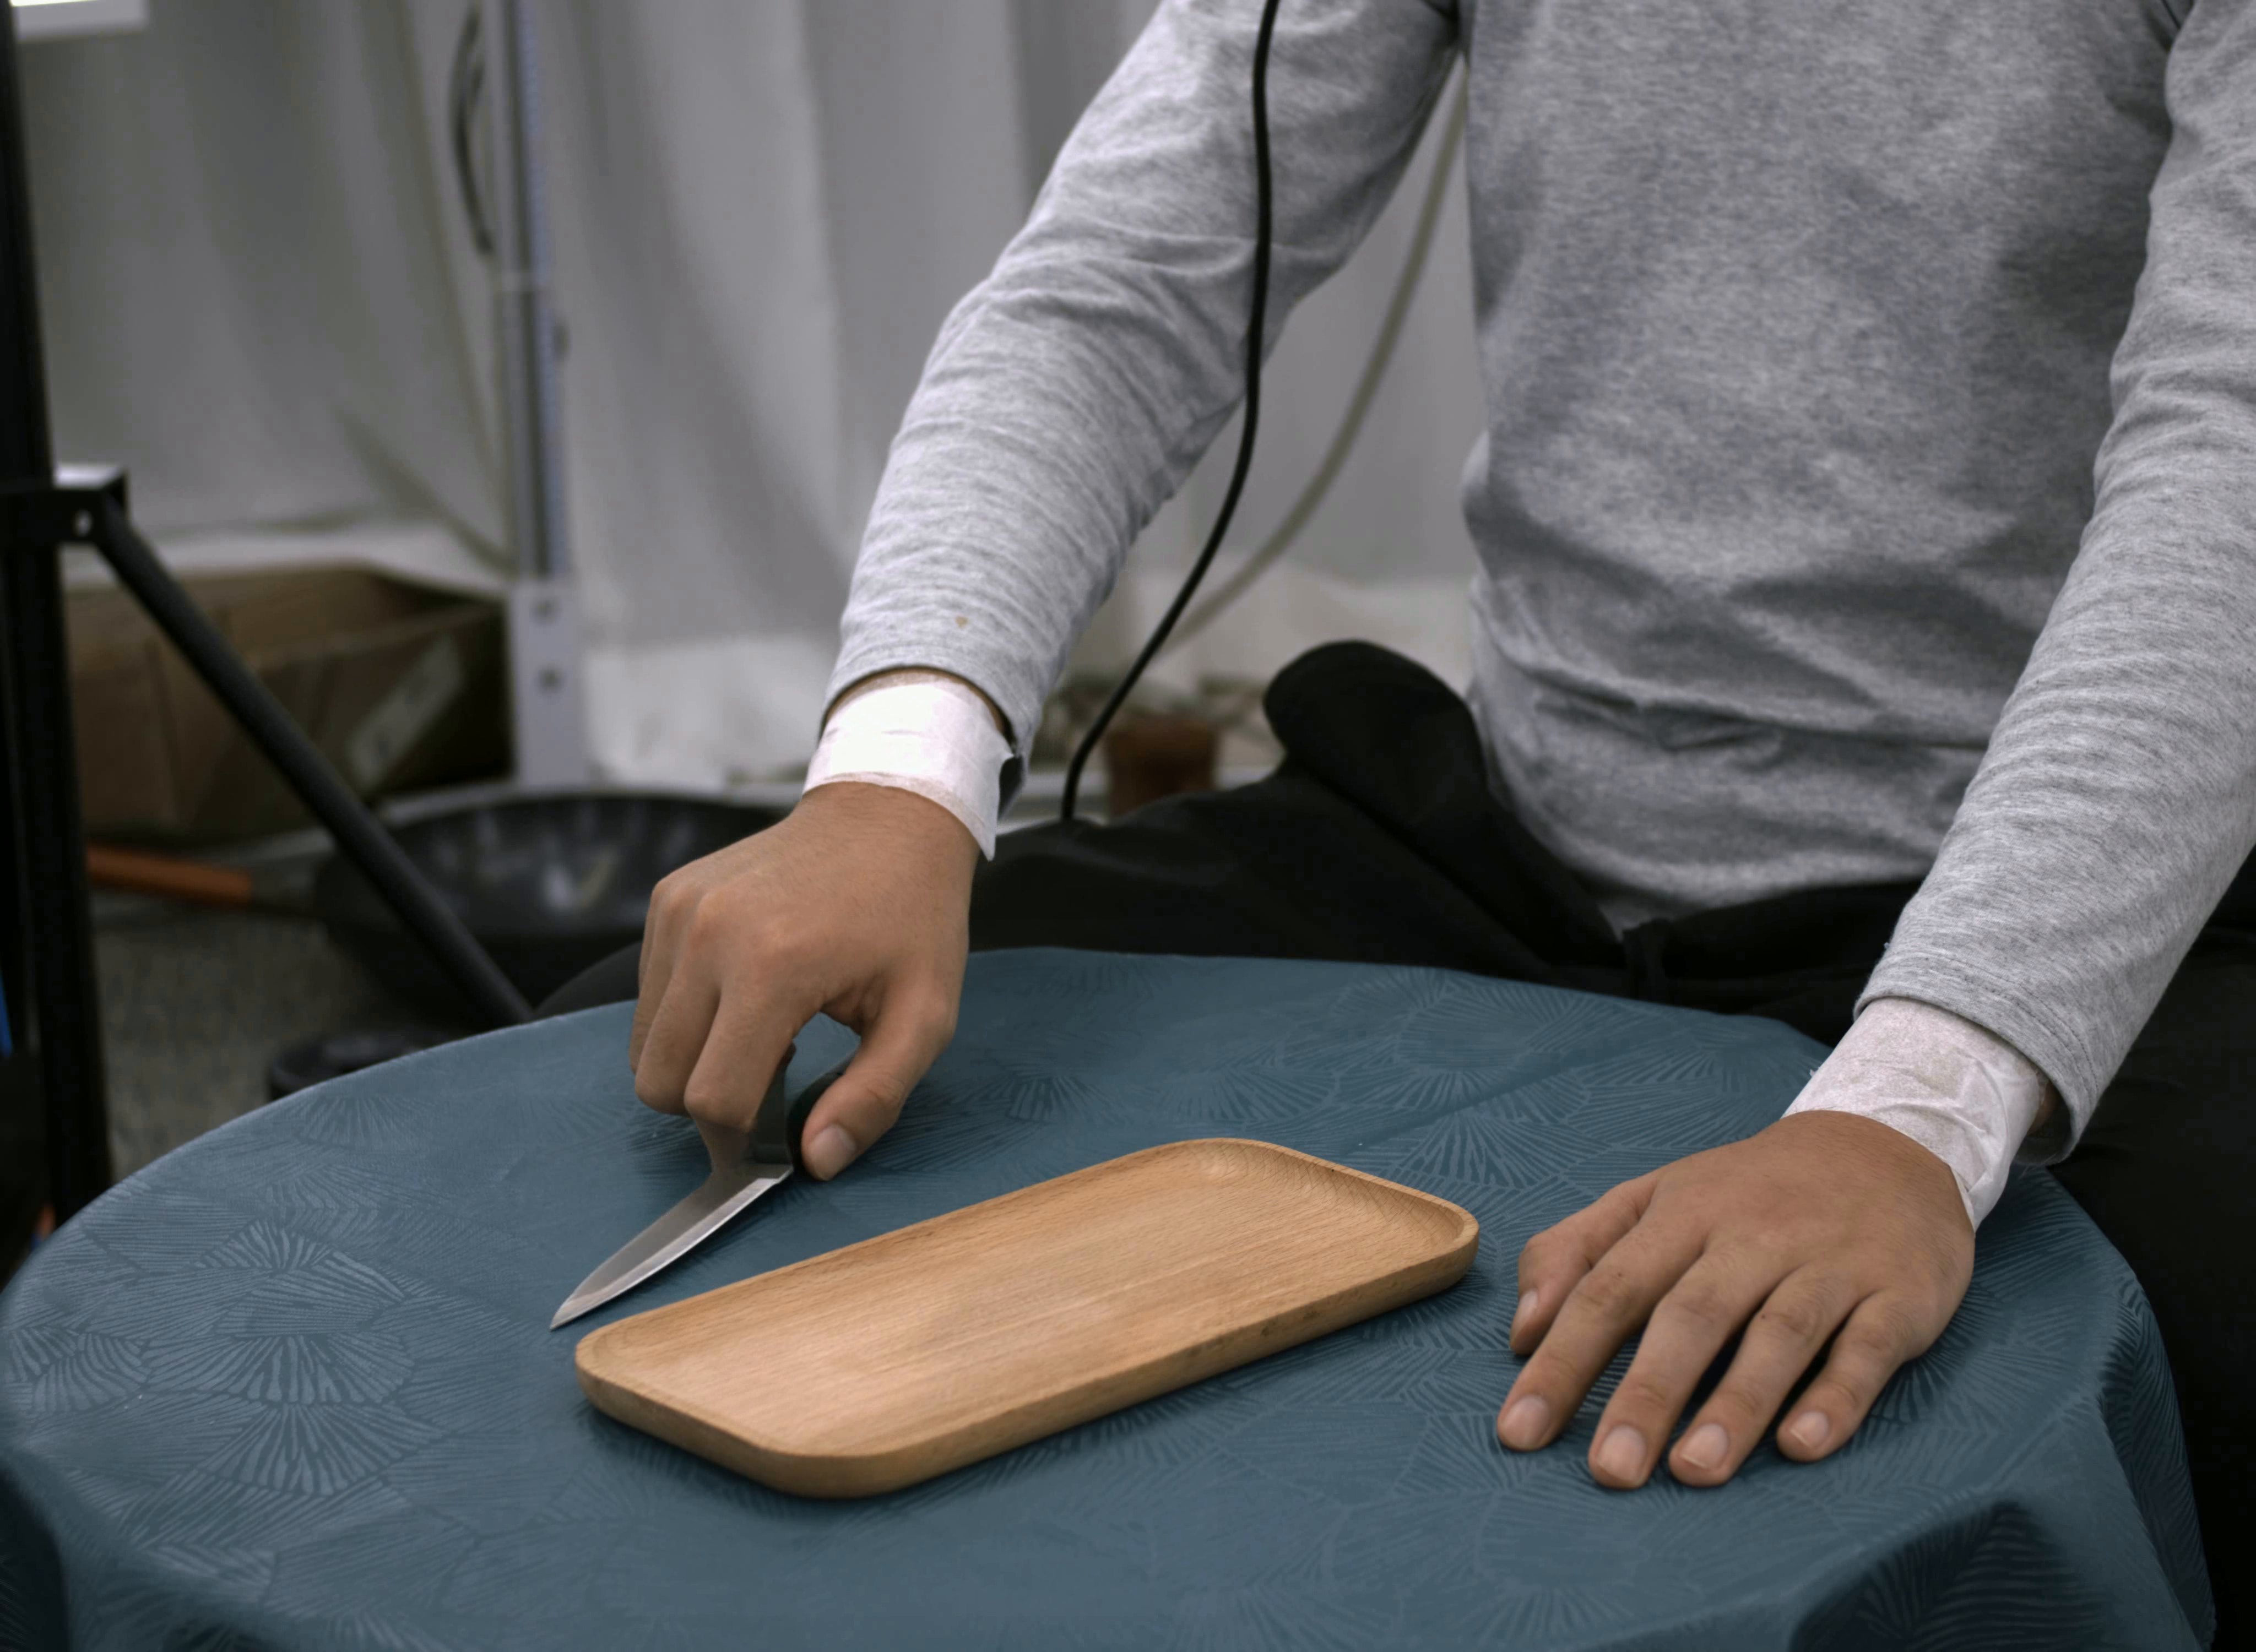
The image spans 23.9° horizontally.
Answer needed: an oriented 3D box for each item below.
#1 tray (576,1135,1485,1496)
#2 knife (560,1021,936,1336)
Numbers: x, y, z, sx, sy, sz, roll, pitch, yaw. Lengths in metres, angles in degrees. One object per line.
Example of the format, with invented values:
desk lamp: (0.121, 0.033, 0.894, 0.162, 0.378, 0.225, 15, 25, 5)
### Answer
tray: (-0.023, 0.132, 1.452, 0.245, 0.023, 0.133, -14, 22, -37)
knife: (-0.113, 0.103, 1.574, 0.025, 0.016, 0.235, 4, 20, 23)
